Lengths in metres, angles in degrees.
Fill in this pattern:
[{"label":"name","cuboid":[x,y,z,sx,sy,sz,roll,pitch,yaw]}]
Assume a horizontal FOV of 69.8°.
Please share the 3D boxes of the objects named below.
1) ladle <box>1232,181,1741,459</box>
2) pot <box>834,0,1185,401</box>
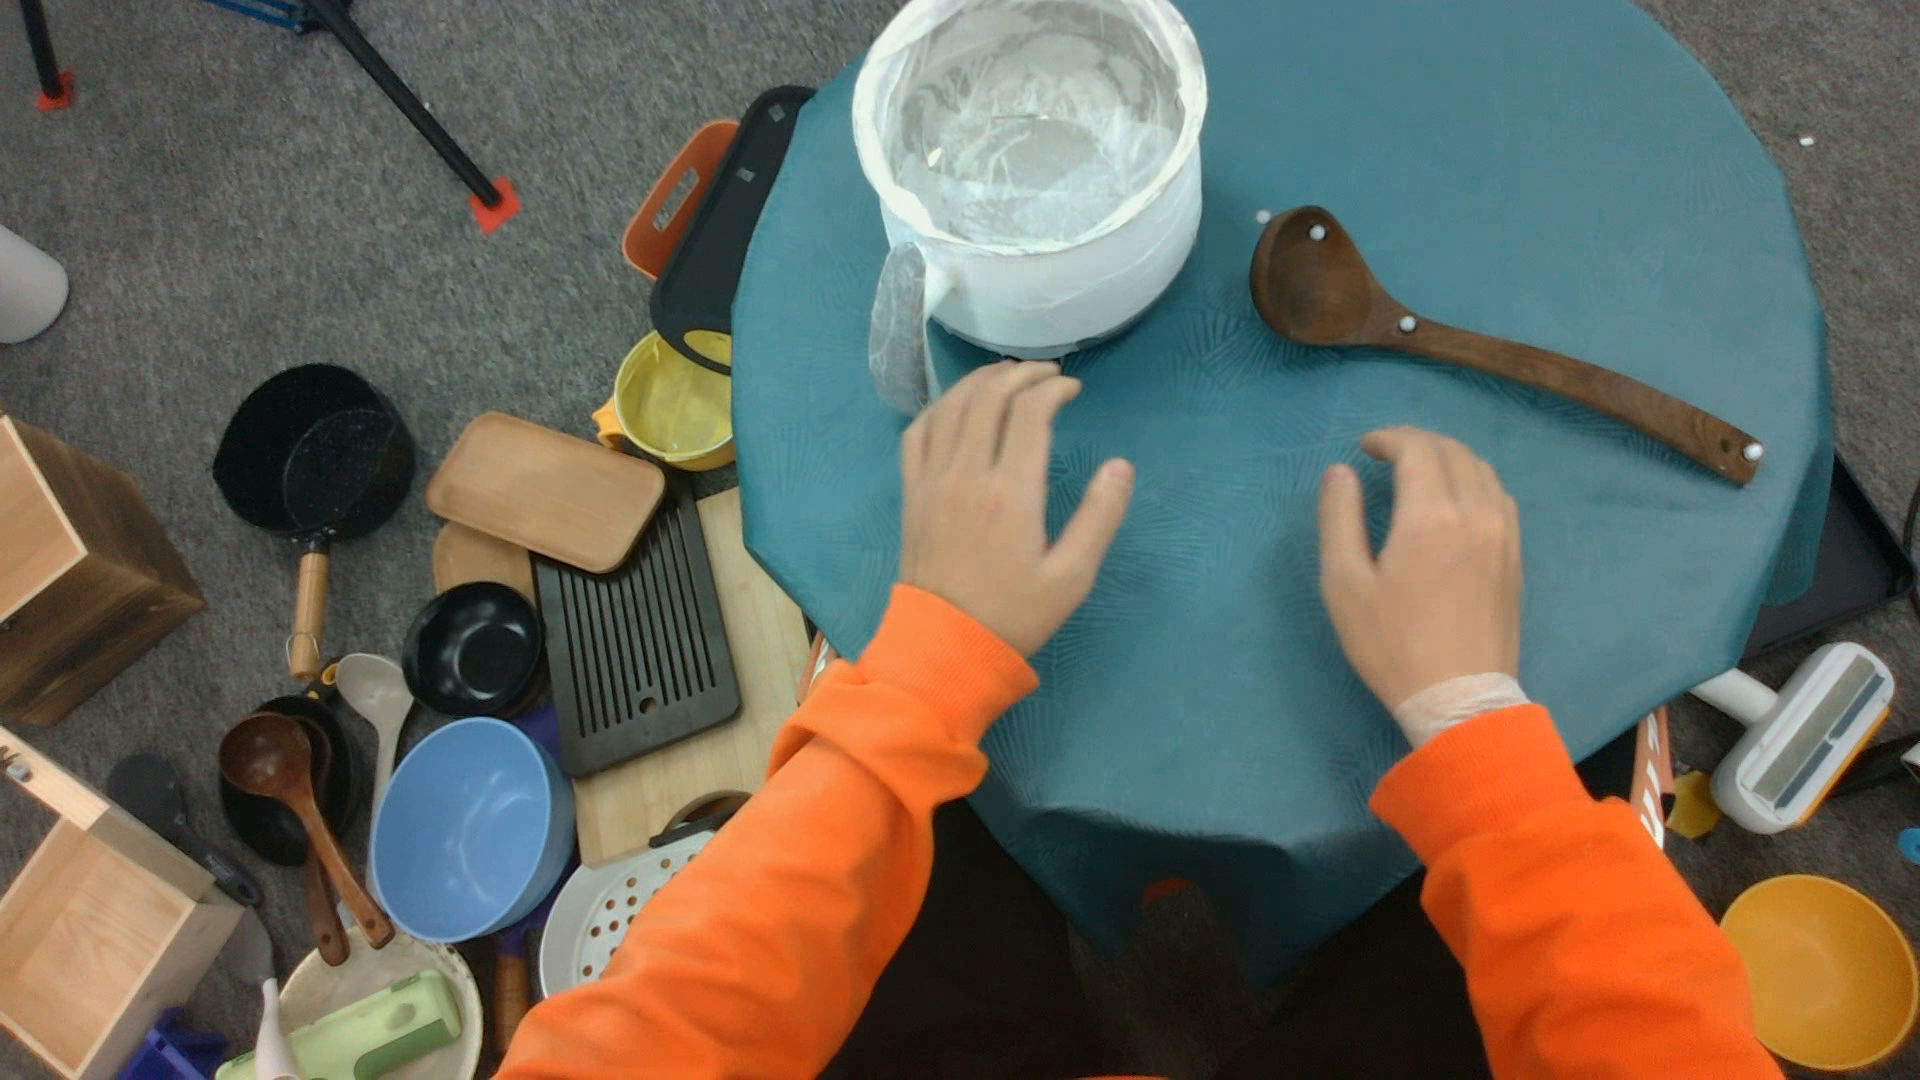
[{"label":"ladle","cuboid":[0.273,-0.112,0.714,0.274,0.071,0.076,24,80,15]},{"label":"pot","cuboid":[0.017,-0.187,0.739,0.179,0.136,0.234,30,78,17]}]
